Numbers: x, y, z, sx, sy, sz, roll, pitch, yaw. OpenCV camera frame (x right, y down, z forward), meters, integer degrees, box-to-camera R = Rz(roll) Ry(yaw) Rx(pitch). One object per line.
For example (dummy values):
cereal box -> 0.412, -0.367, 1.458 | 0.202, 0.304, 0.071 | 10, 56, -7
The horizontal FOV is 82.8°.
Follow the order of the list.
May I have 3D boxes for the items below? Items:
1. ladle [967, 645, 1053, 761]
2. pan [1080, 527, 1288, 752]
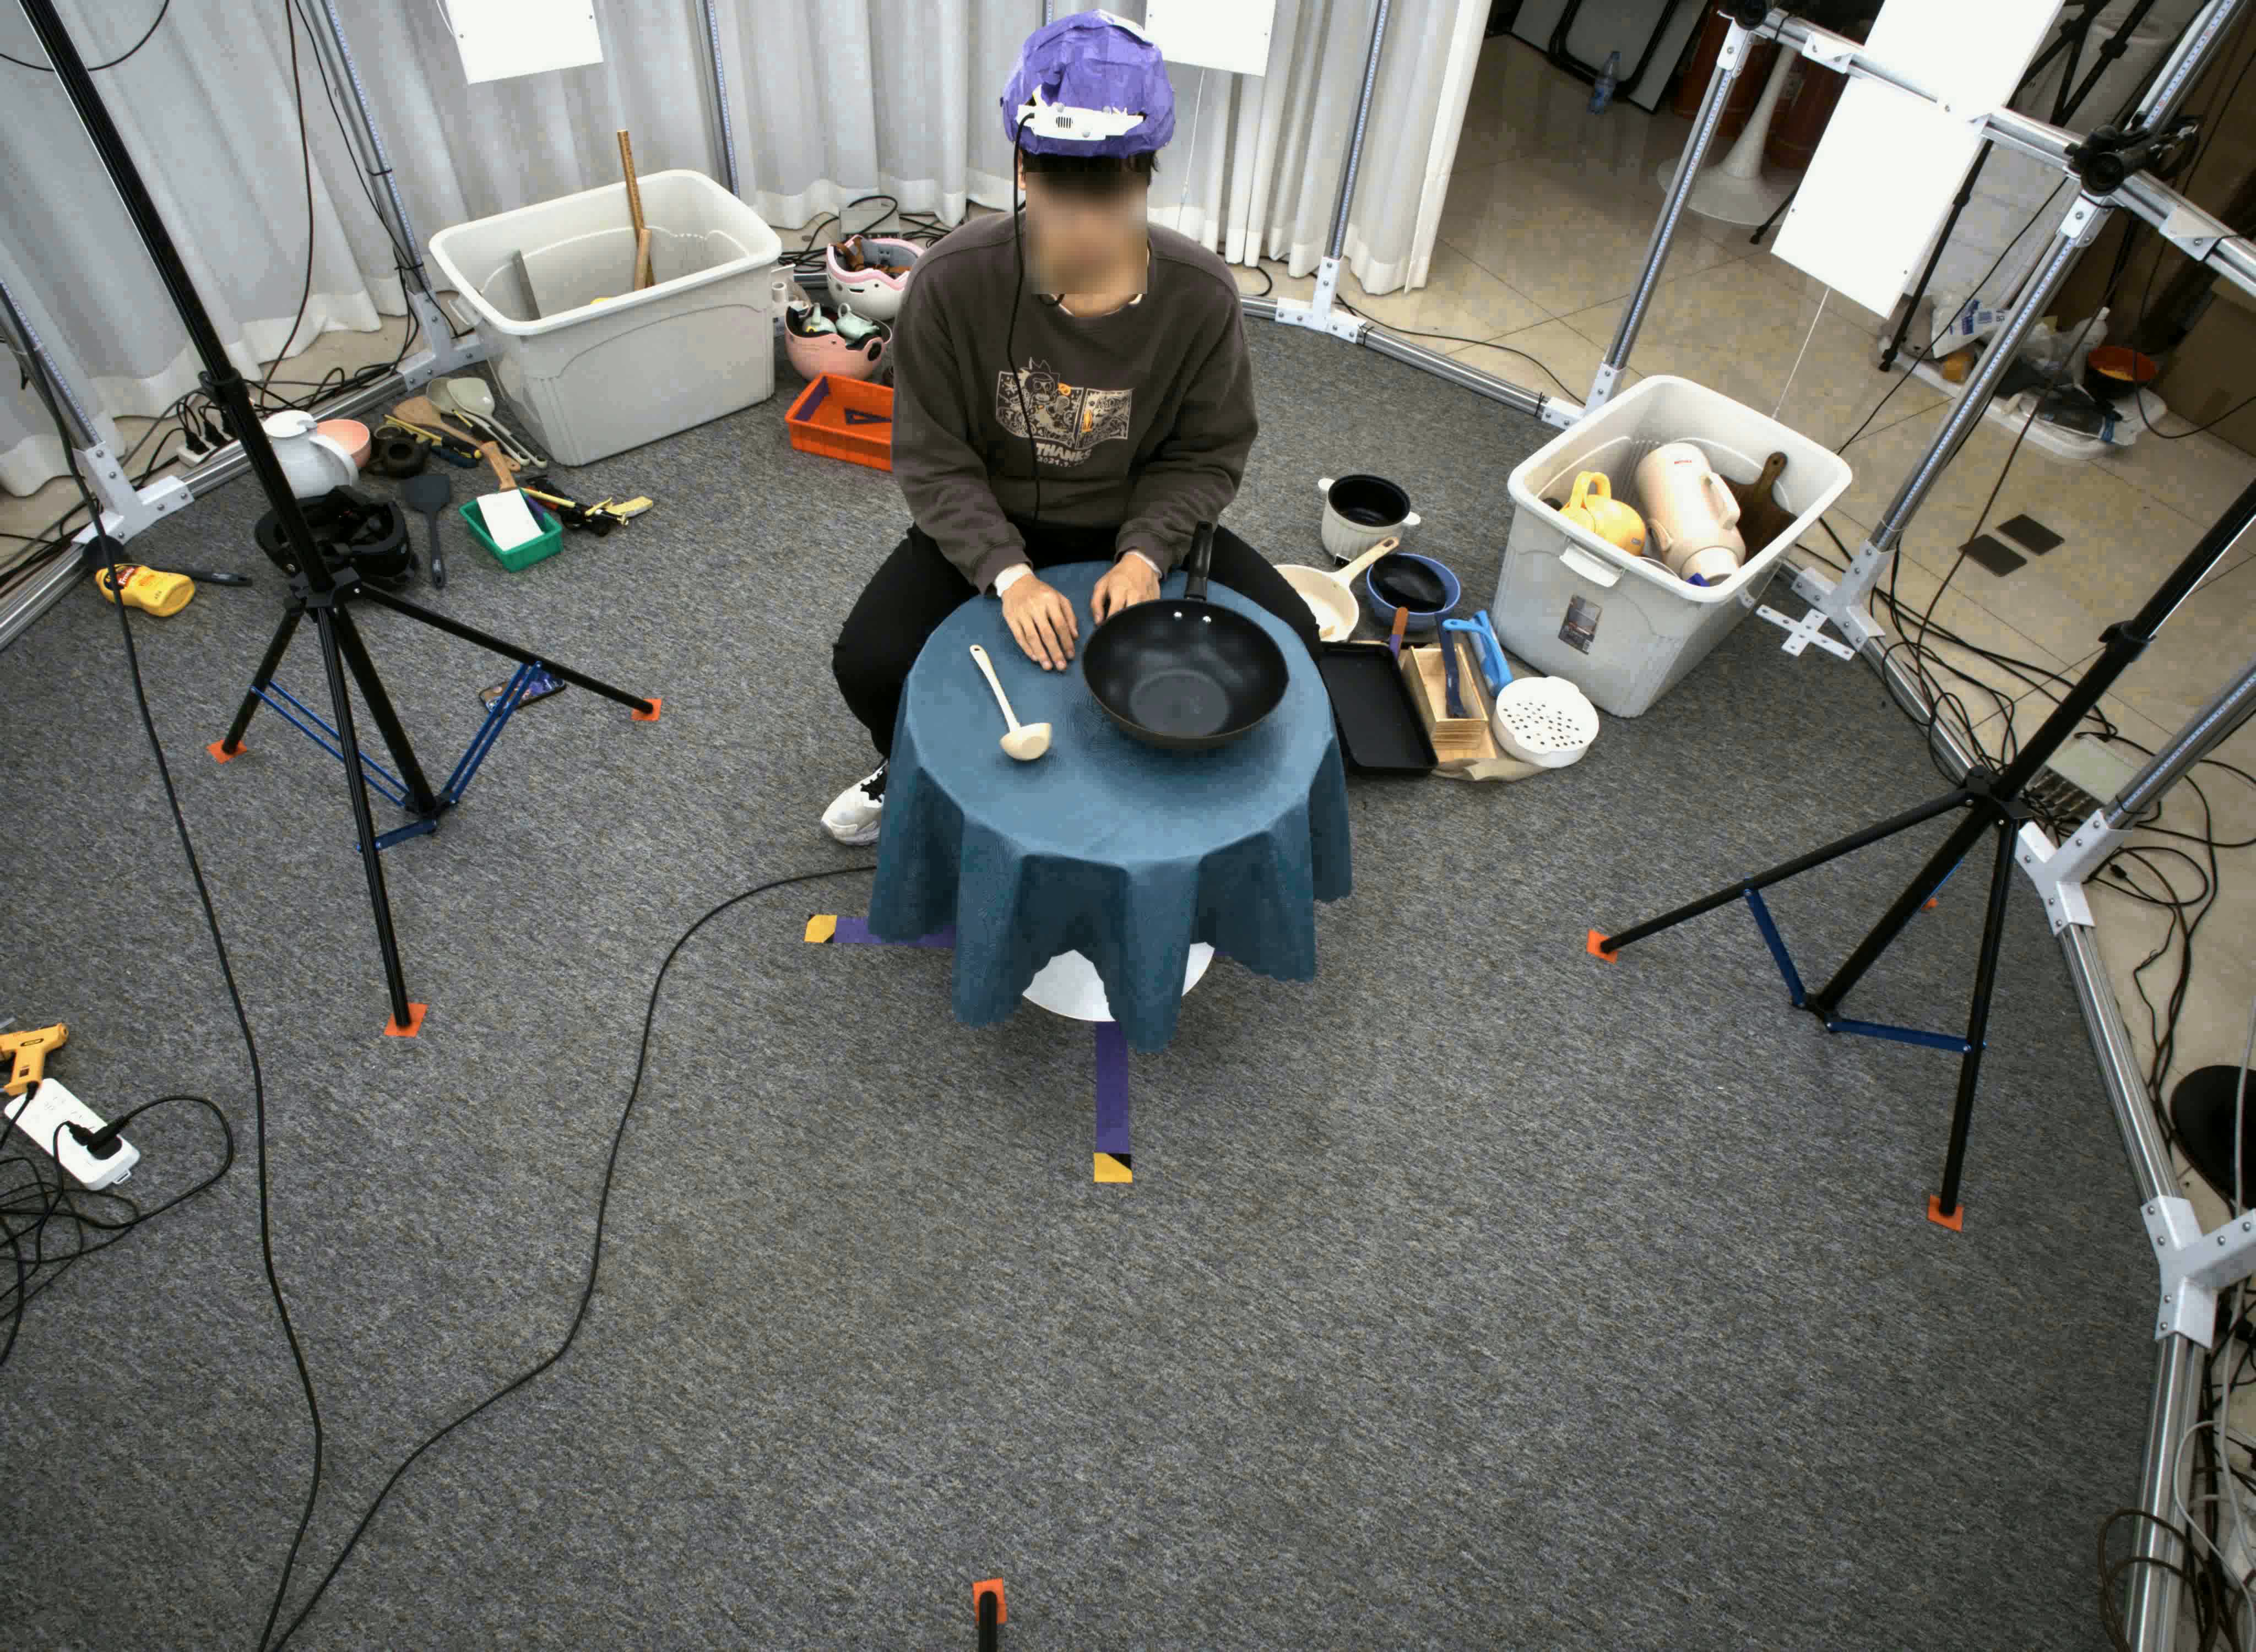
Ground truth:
ladle -> -0.176, -0.192, 1.774 | 0.072, 0.071, 0.260 | -19, 54, -15
pan -> 0.086, -0.265, 1.848 | 0.288, 0.085, 0.474 | 7, 48, 3
